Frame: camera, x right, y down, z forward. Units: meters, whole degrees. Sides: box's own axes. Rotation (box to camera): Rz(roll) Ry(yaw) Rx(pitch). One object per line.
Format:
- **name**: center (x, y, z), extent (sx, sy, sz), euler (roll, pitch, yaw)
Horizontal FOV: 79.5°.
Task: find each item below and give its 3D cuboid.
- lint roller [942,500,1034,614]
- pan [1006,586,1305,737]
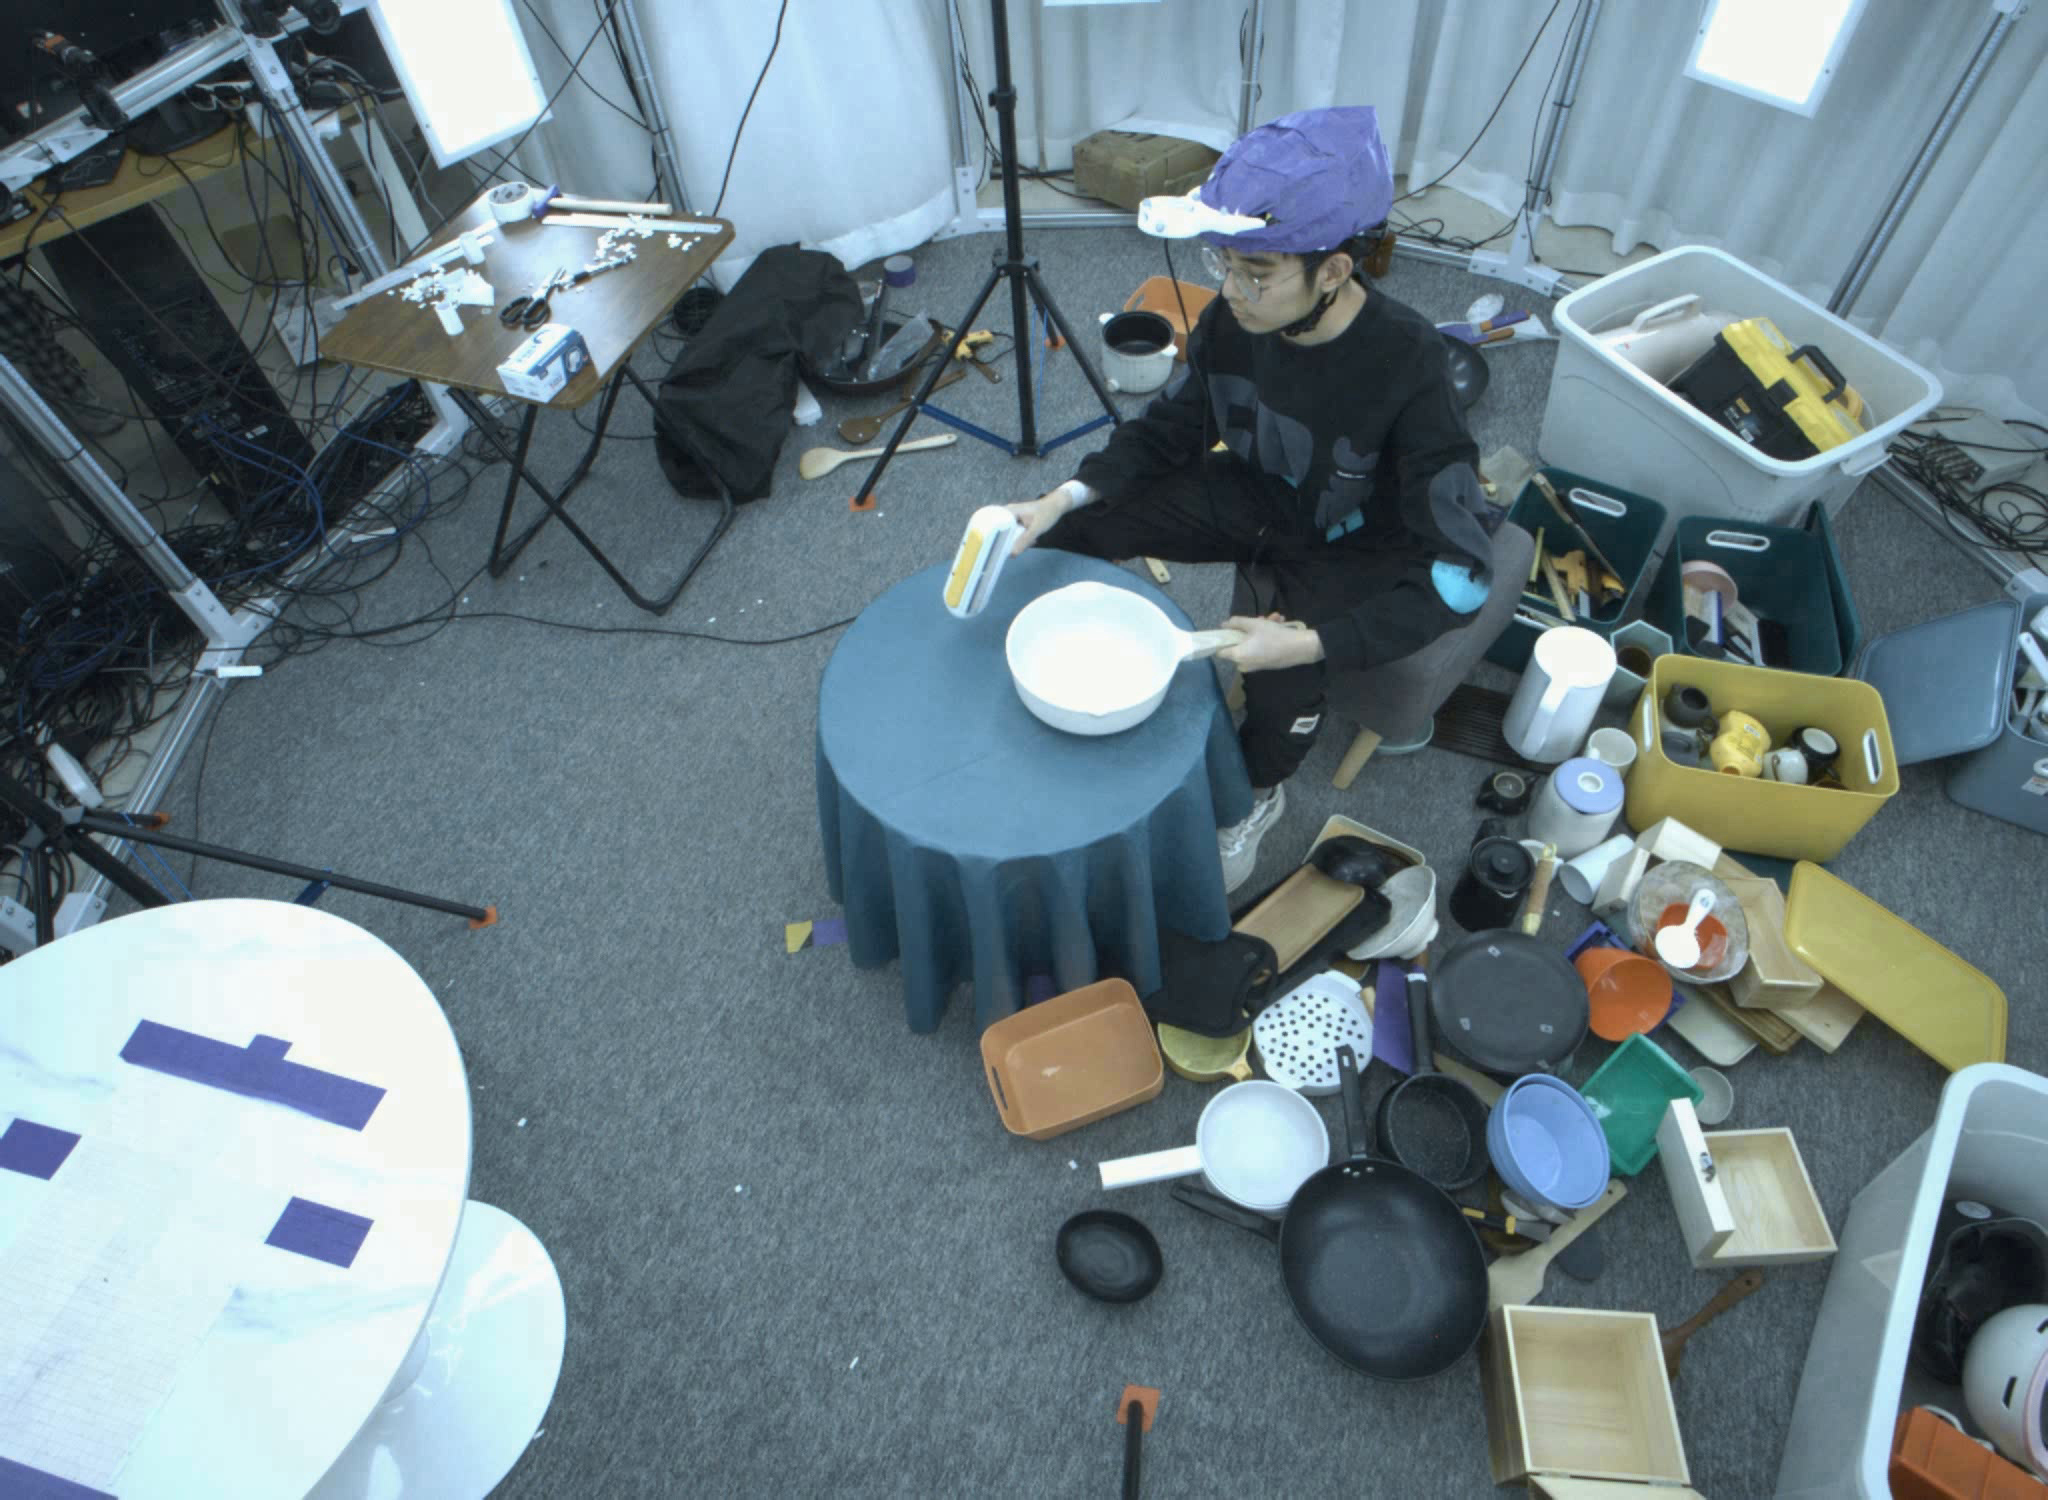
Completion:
- **lint roller**: center (-0.036, -0.308, 1.863), extent (0.073, 0.193, 0.195), euler (39, 39, 20)
- **pan**: center (0.192, -0.133, 1.809), extent (0.436, 0.103, 0.260), euler (-3, 51, -4)
